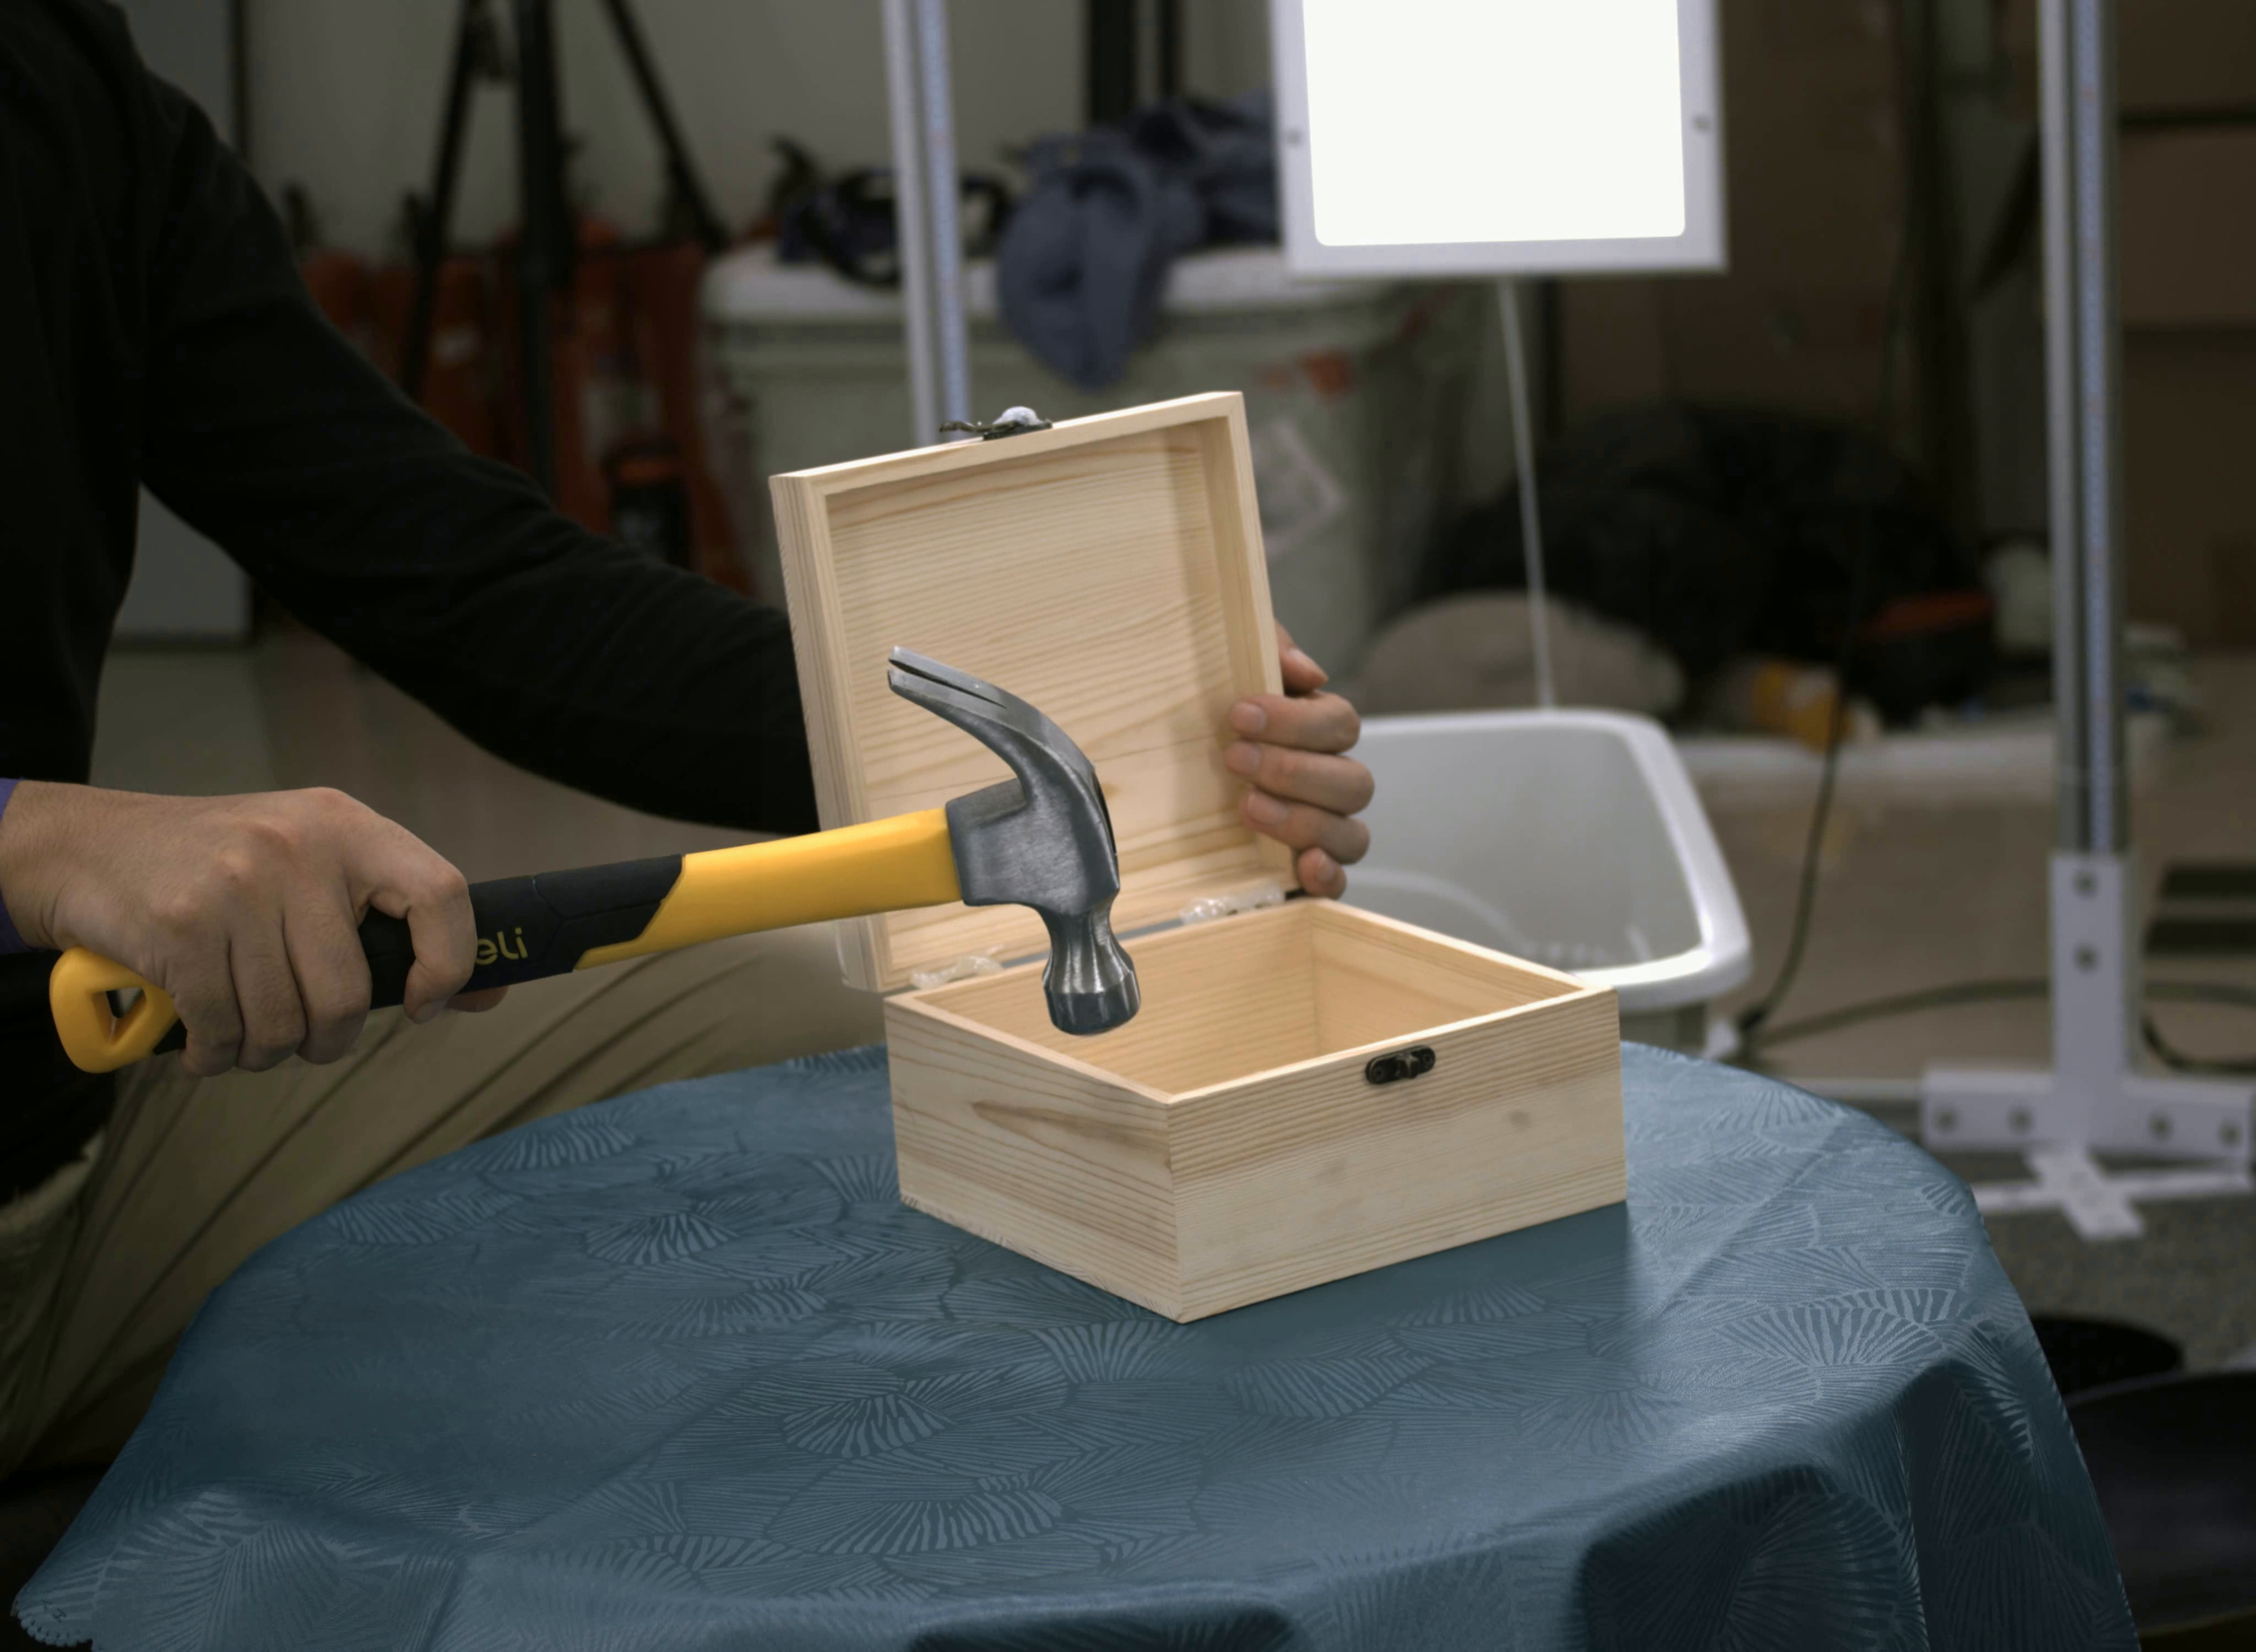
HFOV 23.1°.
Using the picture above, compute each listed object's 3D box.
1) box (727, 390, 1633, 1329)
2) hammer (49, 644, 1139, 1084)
[{"bbox_3d":[0.017,0.002,1.873,0.177,0.254,0.270,-15,18,-29],"label":"box"},{"bbox_3d":[-0.172,0.030,1.735,0.338,0.131,0.032,-11,22,3],"label":"hammer"}]
